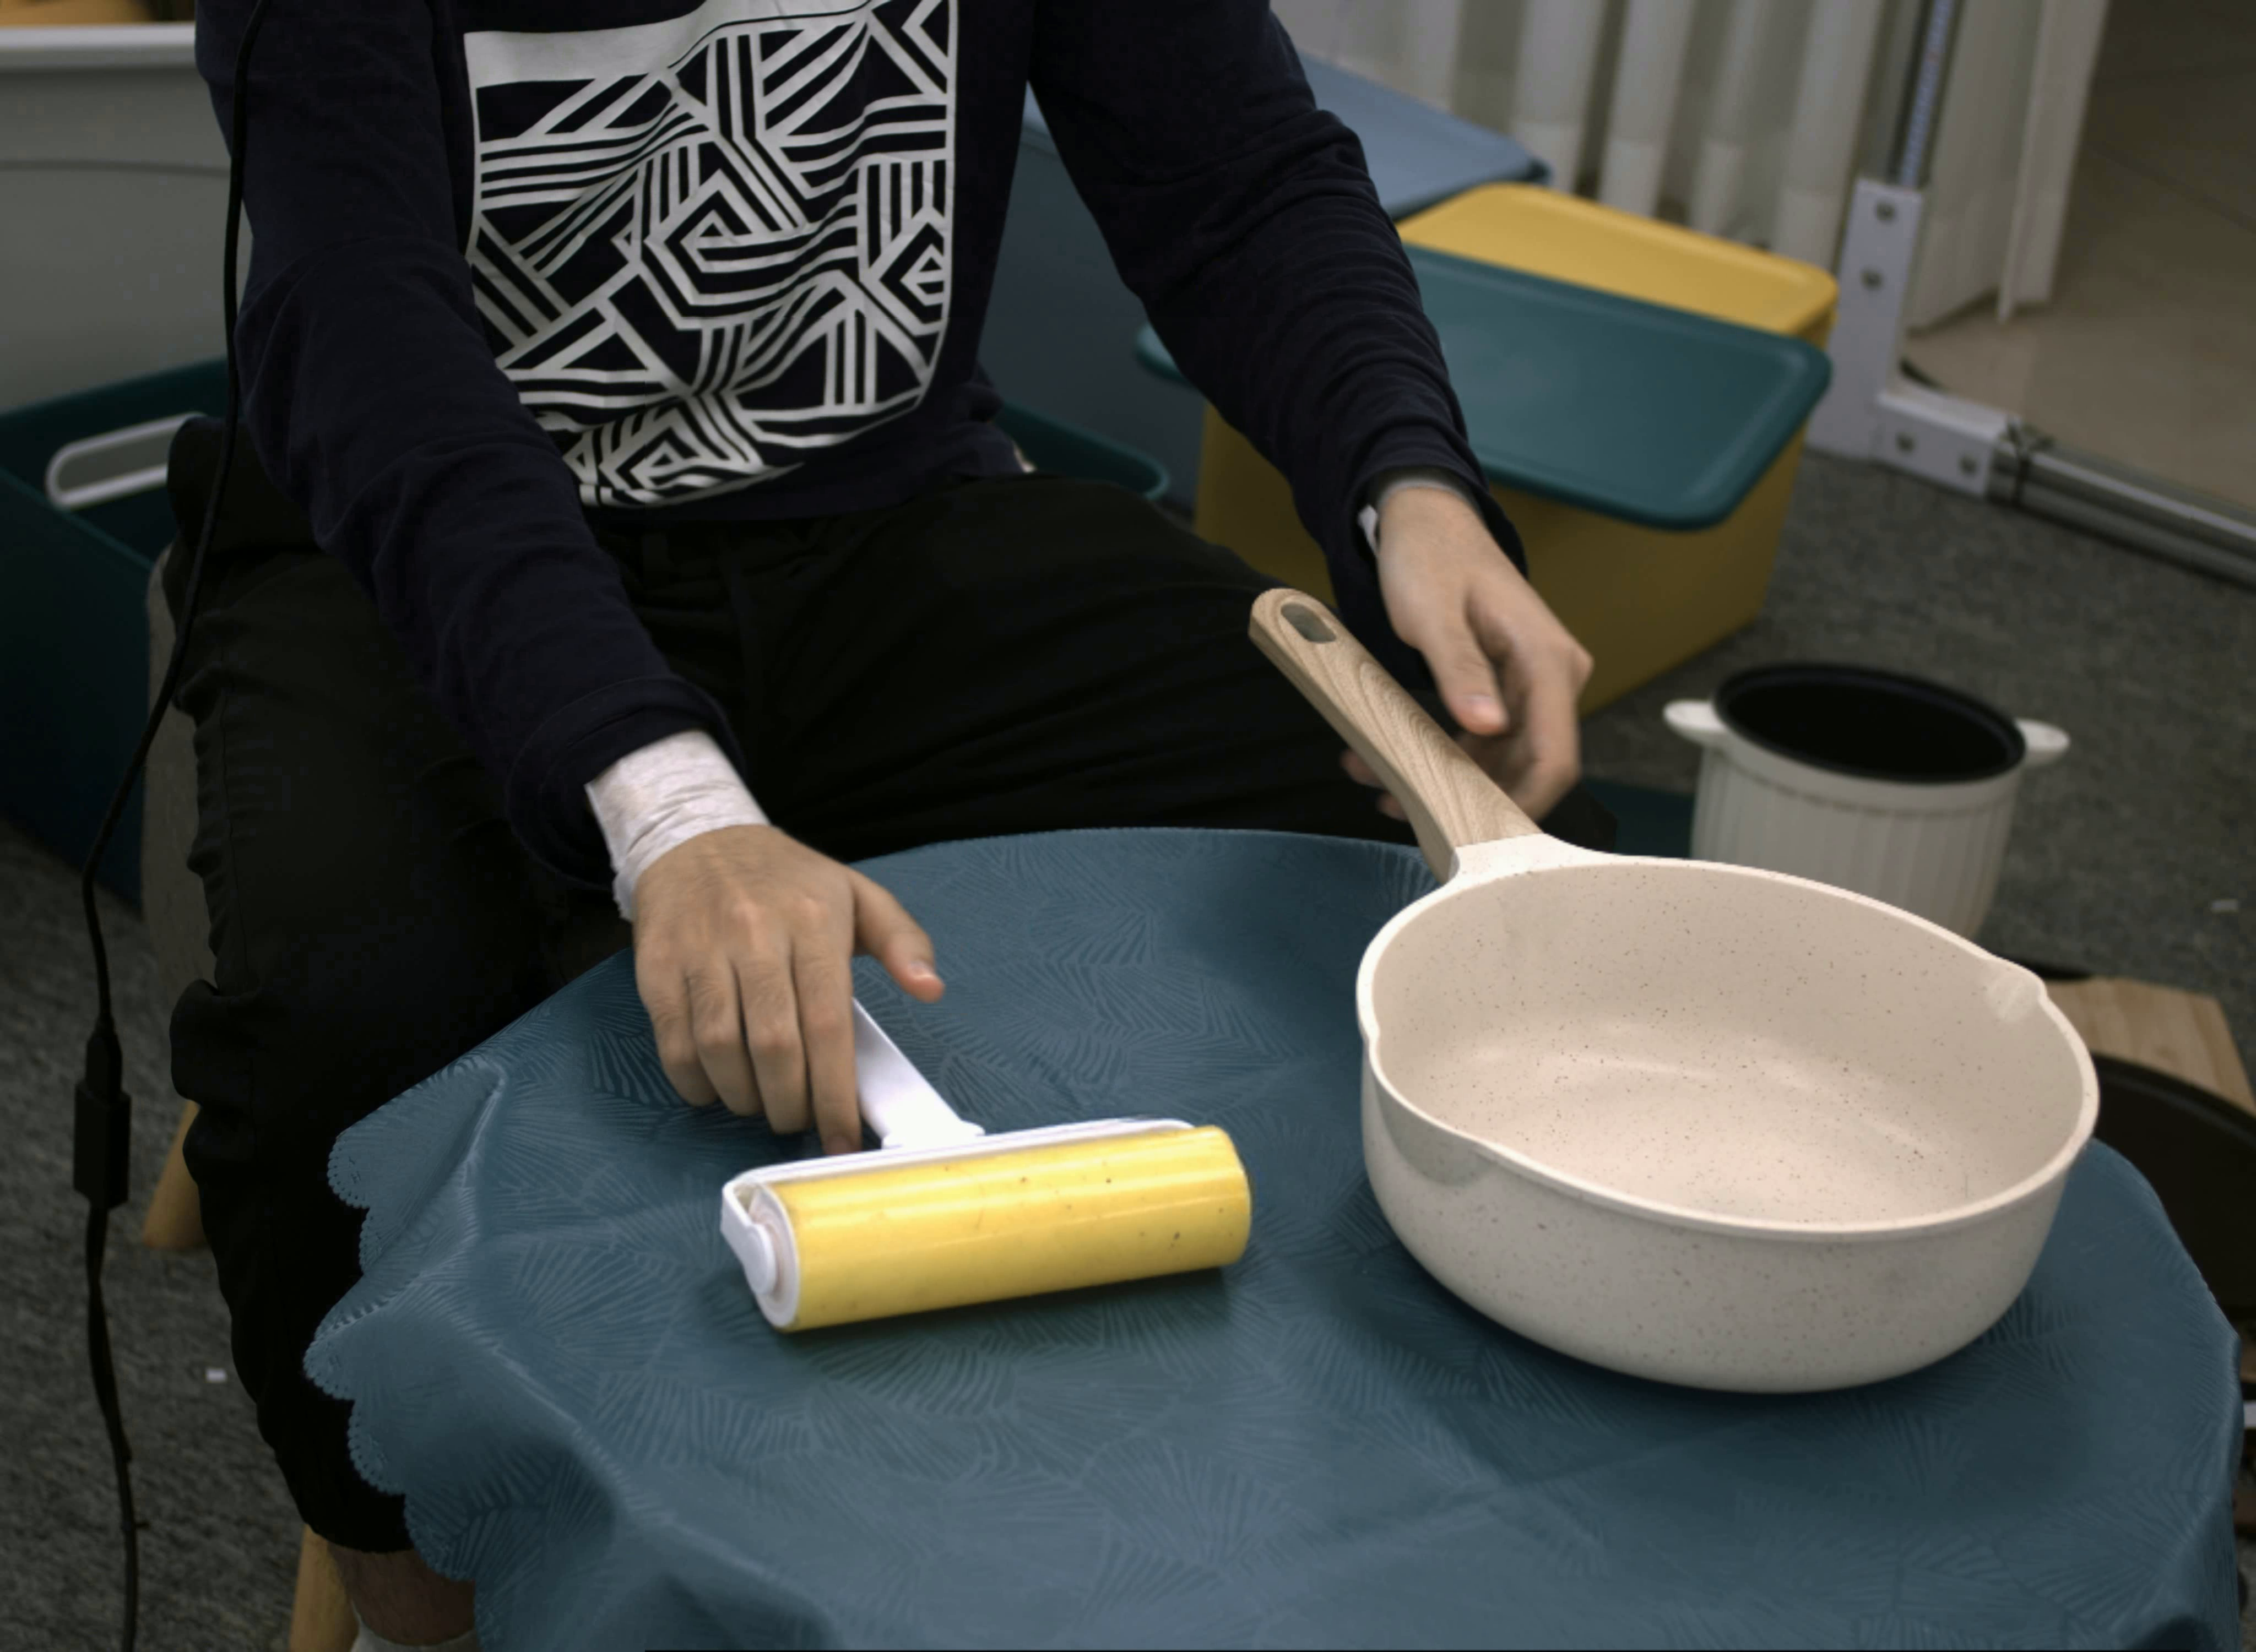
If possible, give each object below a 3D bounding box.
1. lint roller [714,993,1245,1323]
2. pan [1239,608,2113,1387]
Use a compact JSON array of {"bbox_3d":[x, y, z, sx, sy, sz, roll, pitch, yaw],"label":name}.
[{"bbox_3d":[-0.074,0.094,1.785,0.173,0.051,0.194,-6,33,-25],"label":"lint roller"},{"bbox_3d":[0.157,0.056,1.867,0.262,0.101,0.439,-11,31,-27],"label":"pan"}]
